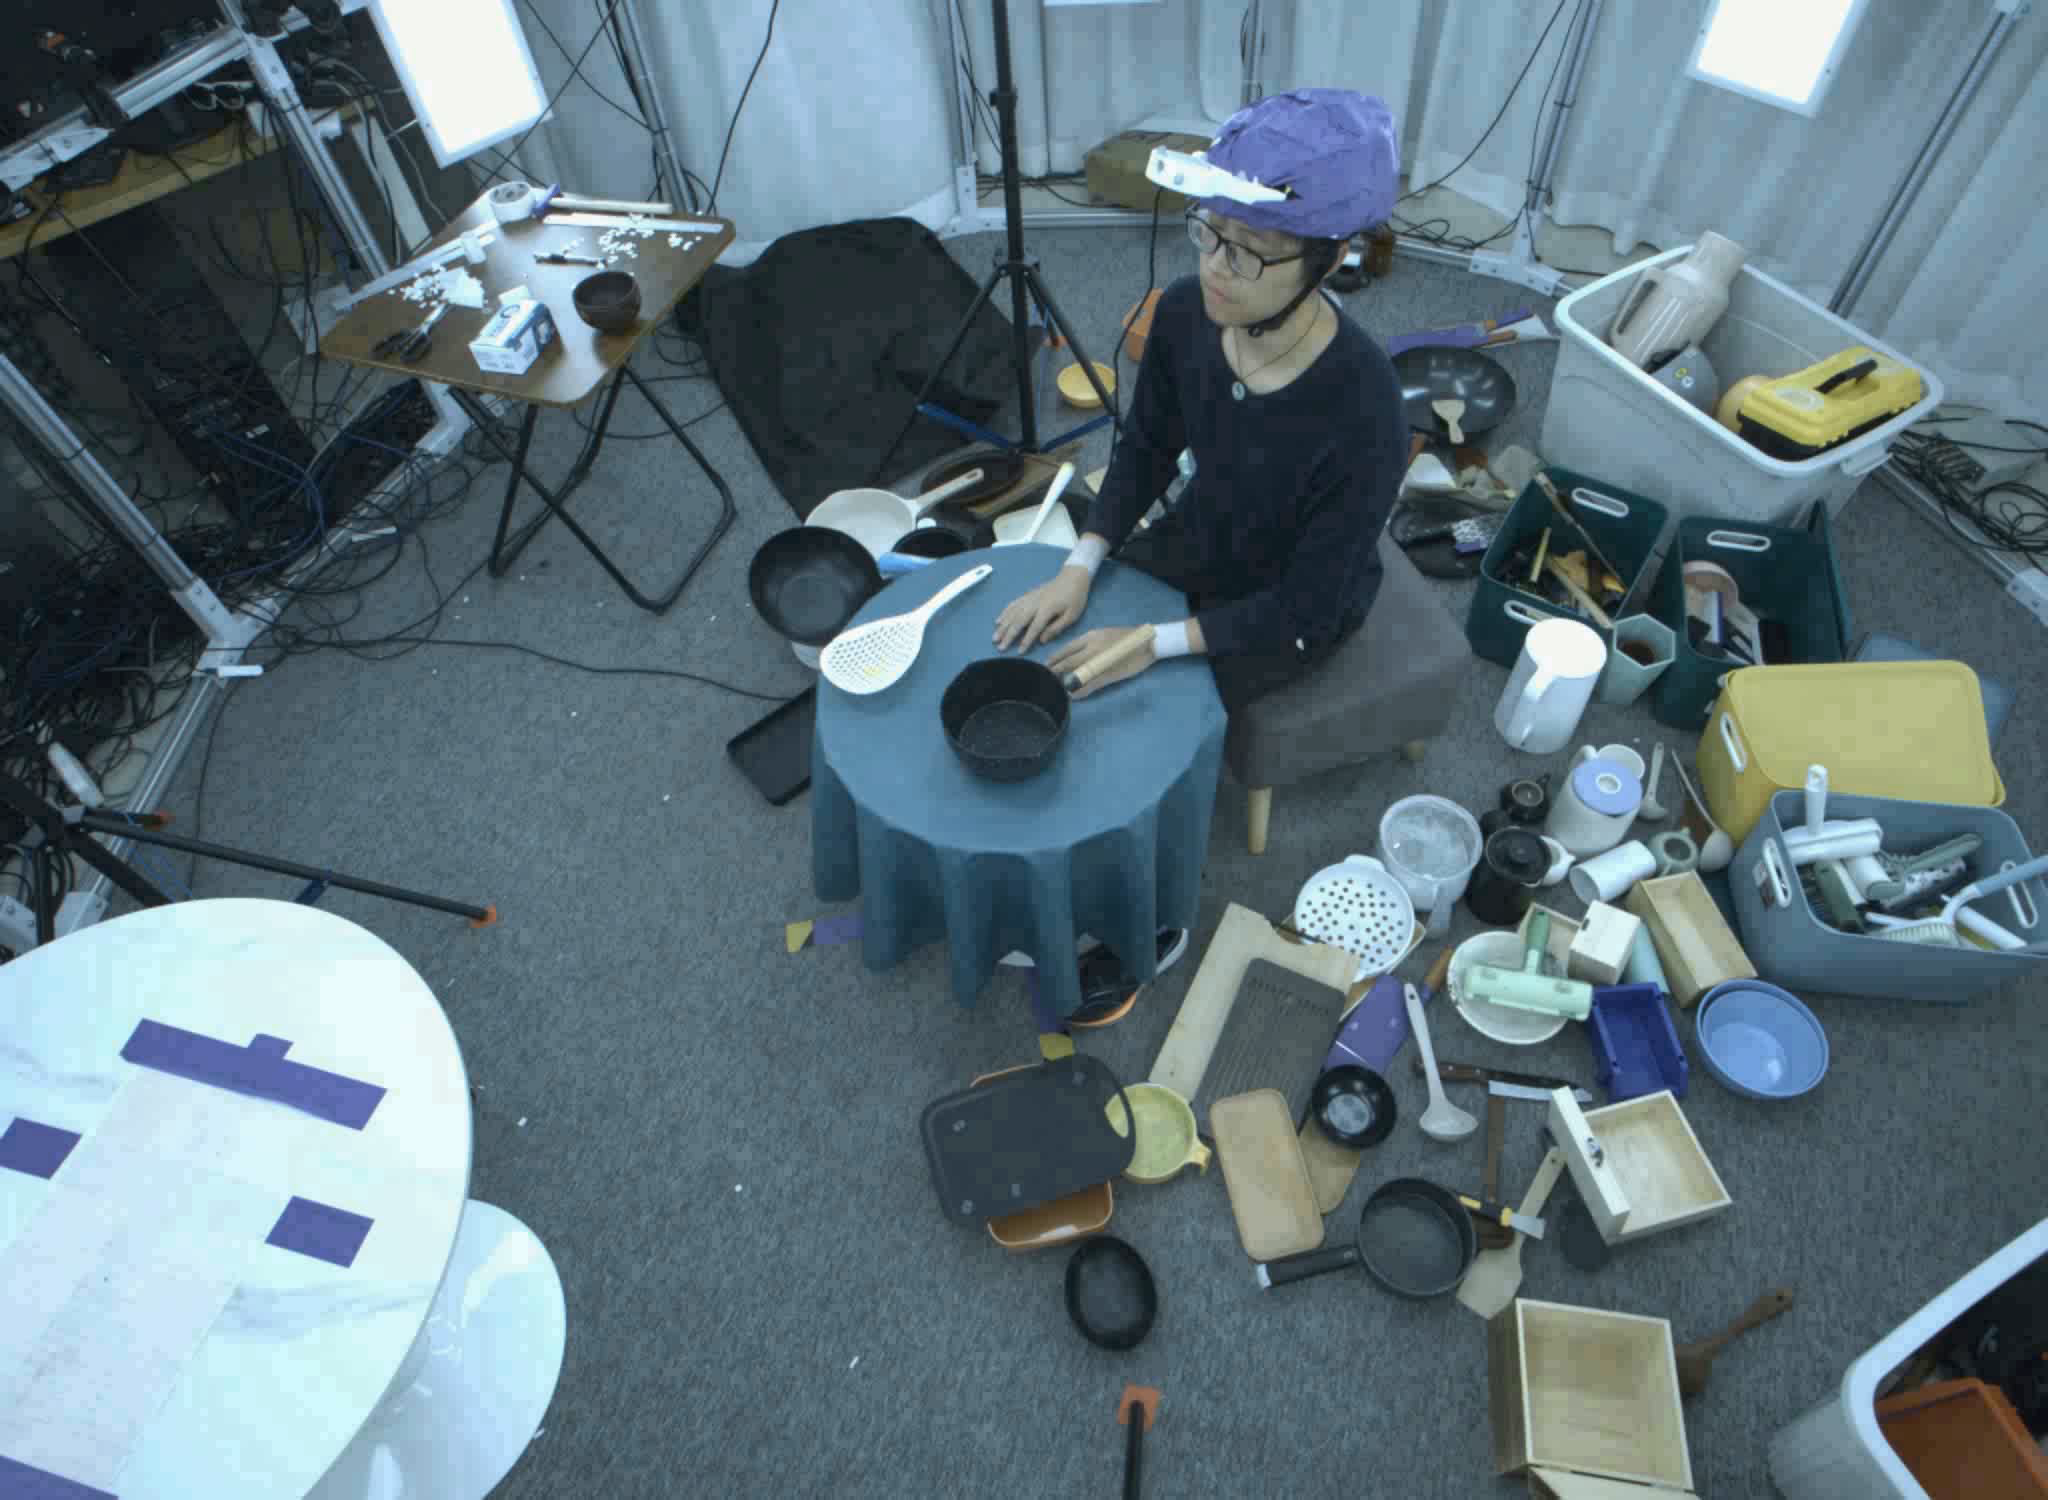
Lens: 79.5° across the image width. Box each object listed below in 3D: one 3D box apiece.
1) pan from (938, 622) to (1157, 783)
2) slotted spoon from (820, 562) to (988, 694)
[{"bbox_3d":[0.042,-0.079,1.775,0.345,0.109,0.203,-28,57,-15],"label":"pan"},{"bbox_3d":[-0.169,-0.200,1.908,0.134,0.051,0.349,32,63,24],"label":"slotted spoon"}]
